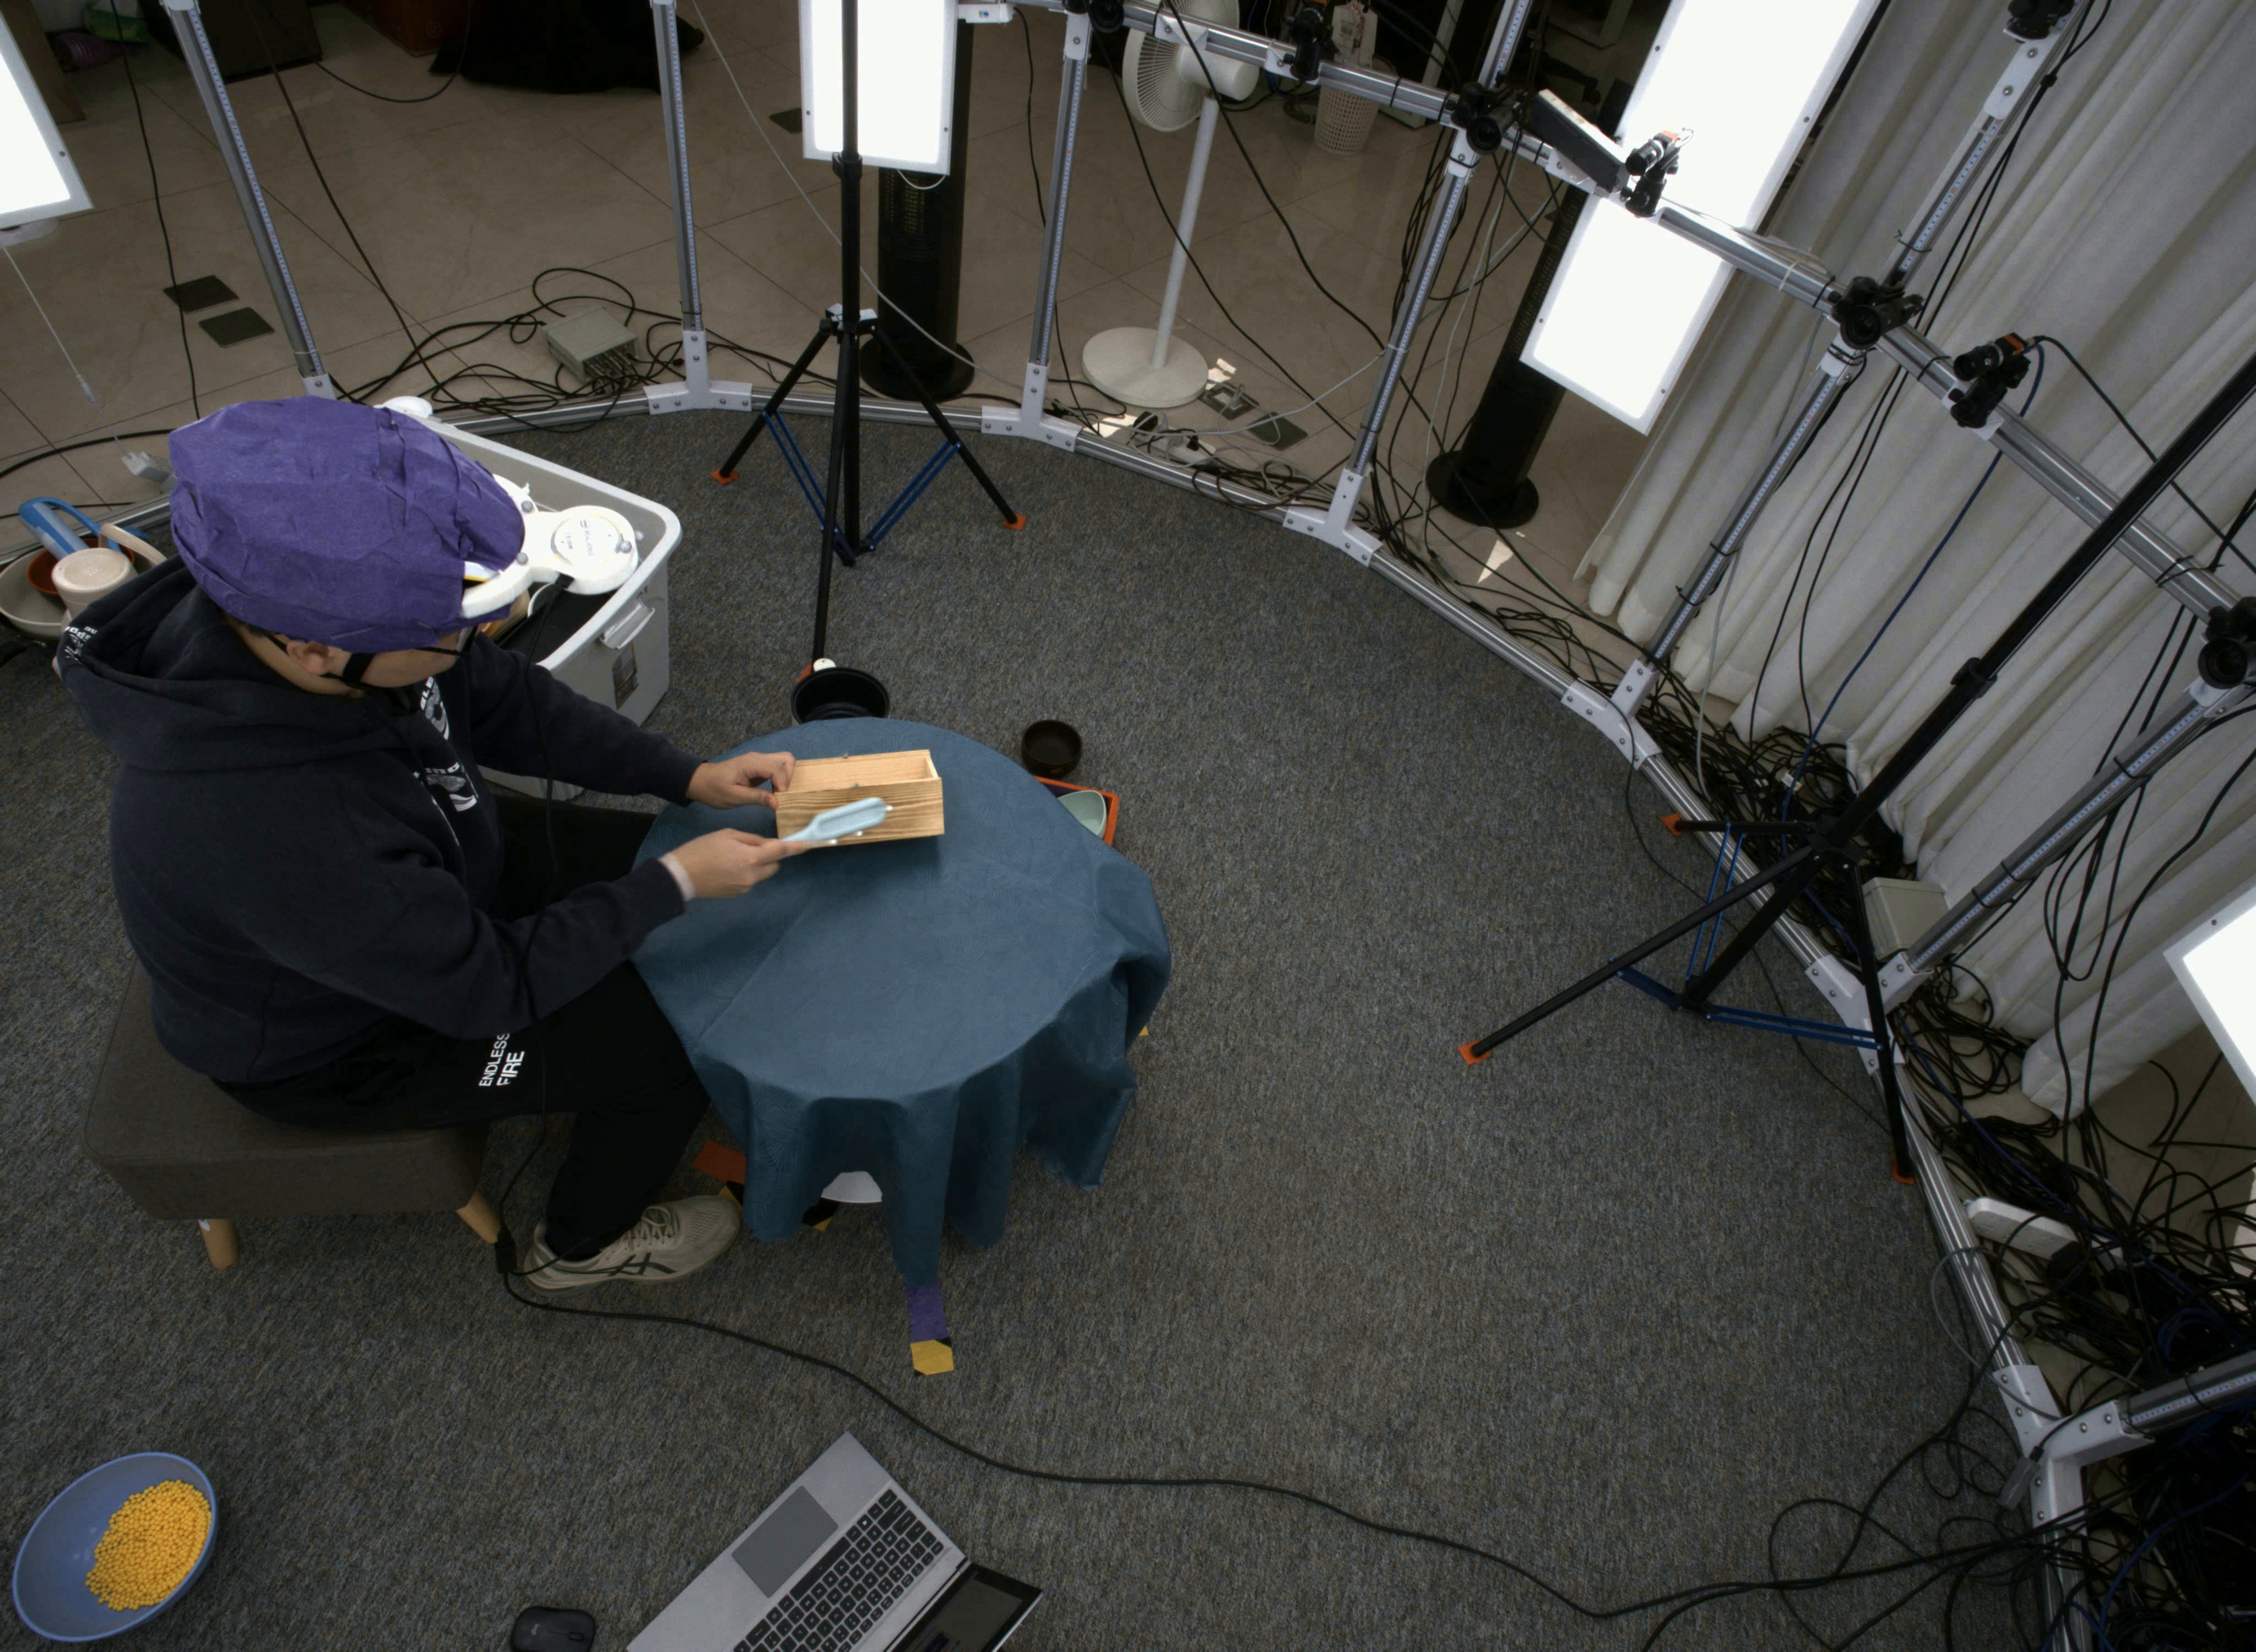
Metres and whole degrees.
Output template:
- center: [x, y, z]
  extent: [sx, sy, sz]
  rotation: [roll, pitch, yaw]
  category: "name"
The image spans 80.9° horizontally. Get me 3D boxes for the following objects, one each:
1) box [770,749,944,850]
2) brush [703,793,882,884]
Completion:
- center: [-0.353, -0.037, 1.689]
  extent: [0.212, 0.082, 0.104]
  rotation: [-6, 27, -18]
  category: "box"
- center: [-0.412, 0.015, 1.591]
  extent: [0.229, 0.039, 0.048]
  rotation: [-26, 28, -21]
  category: "brush"
